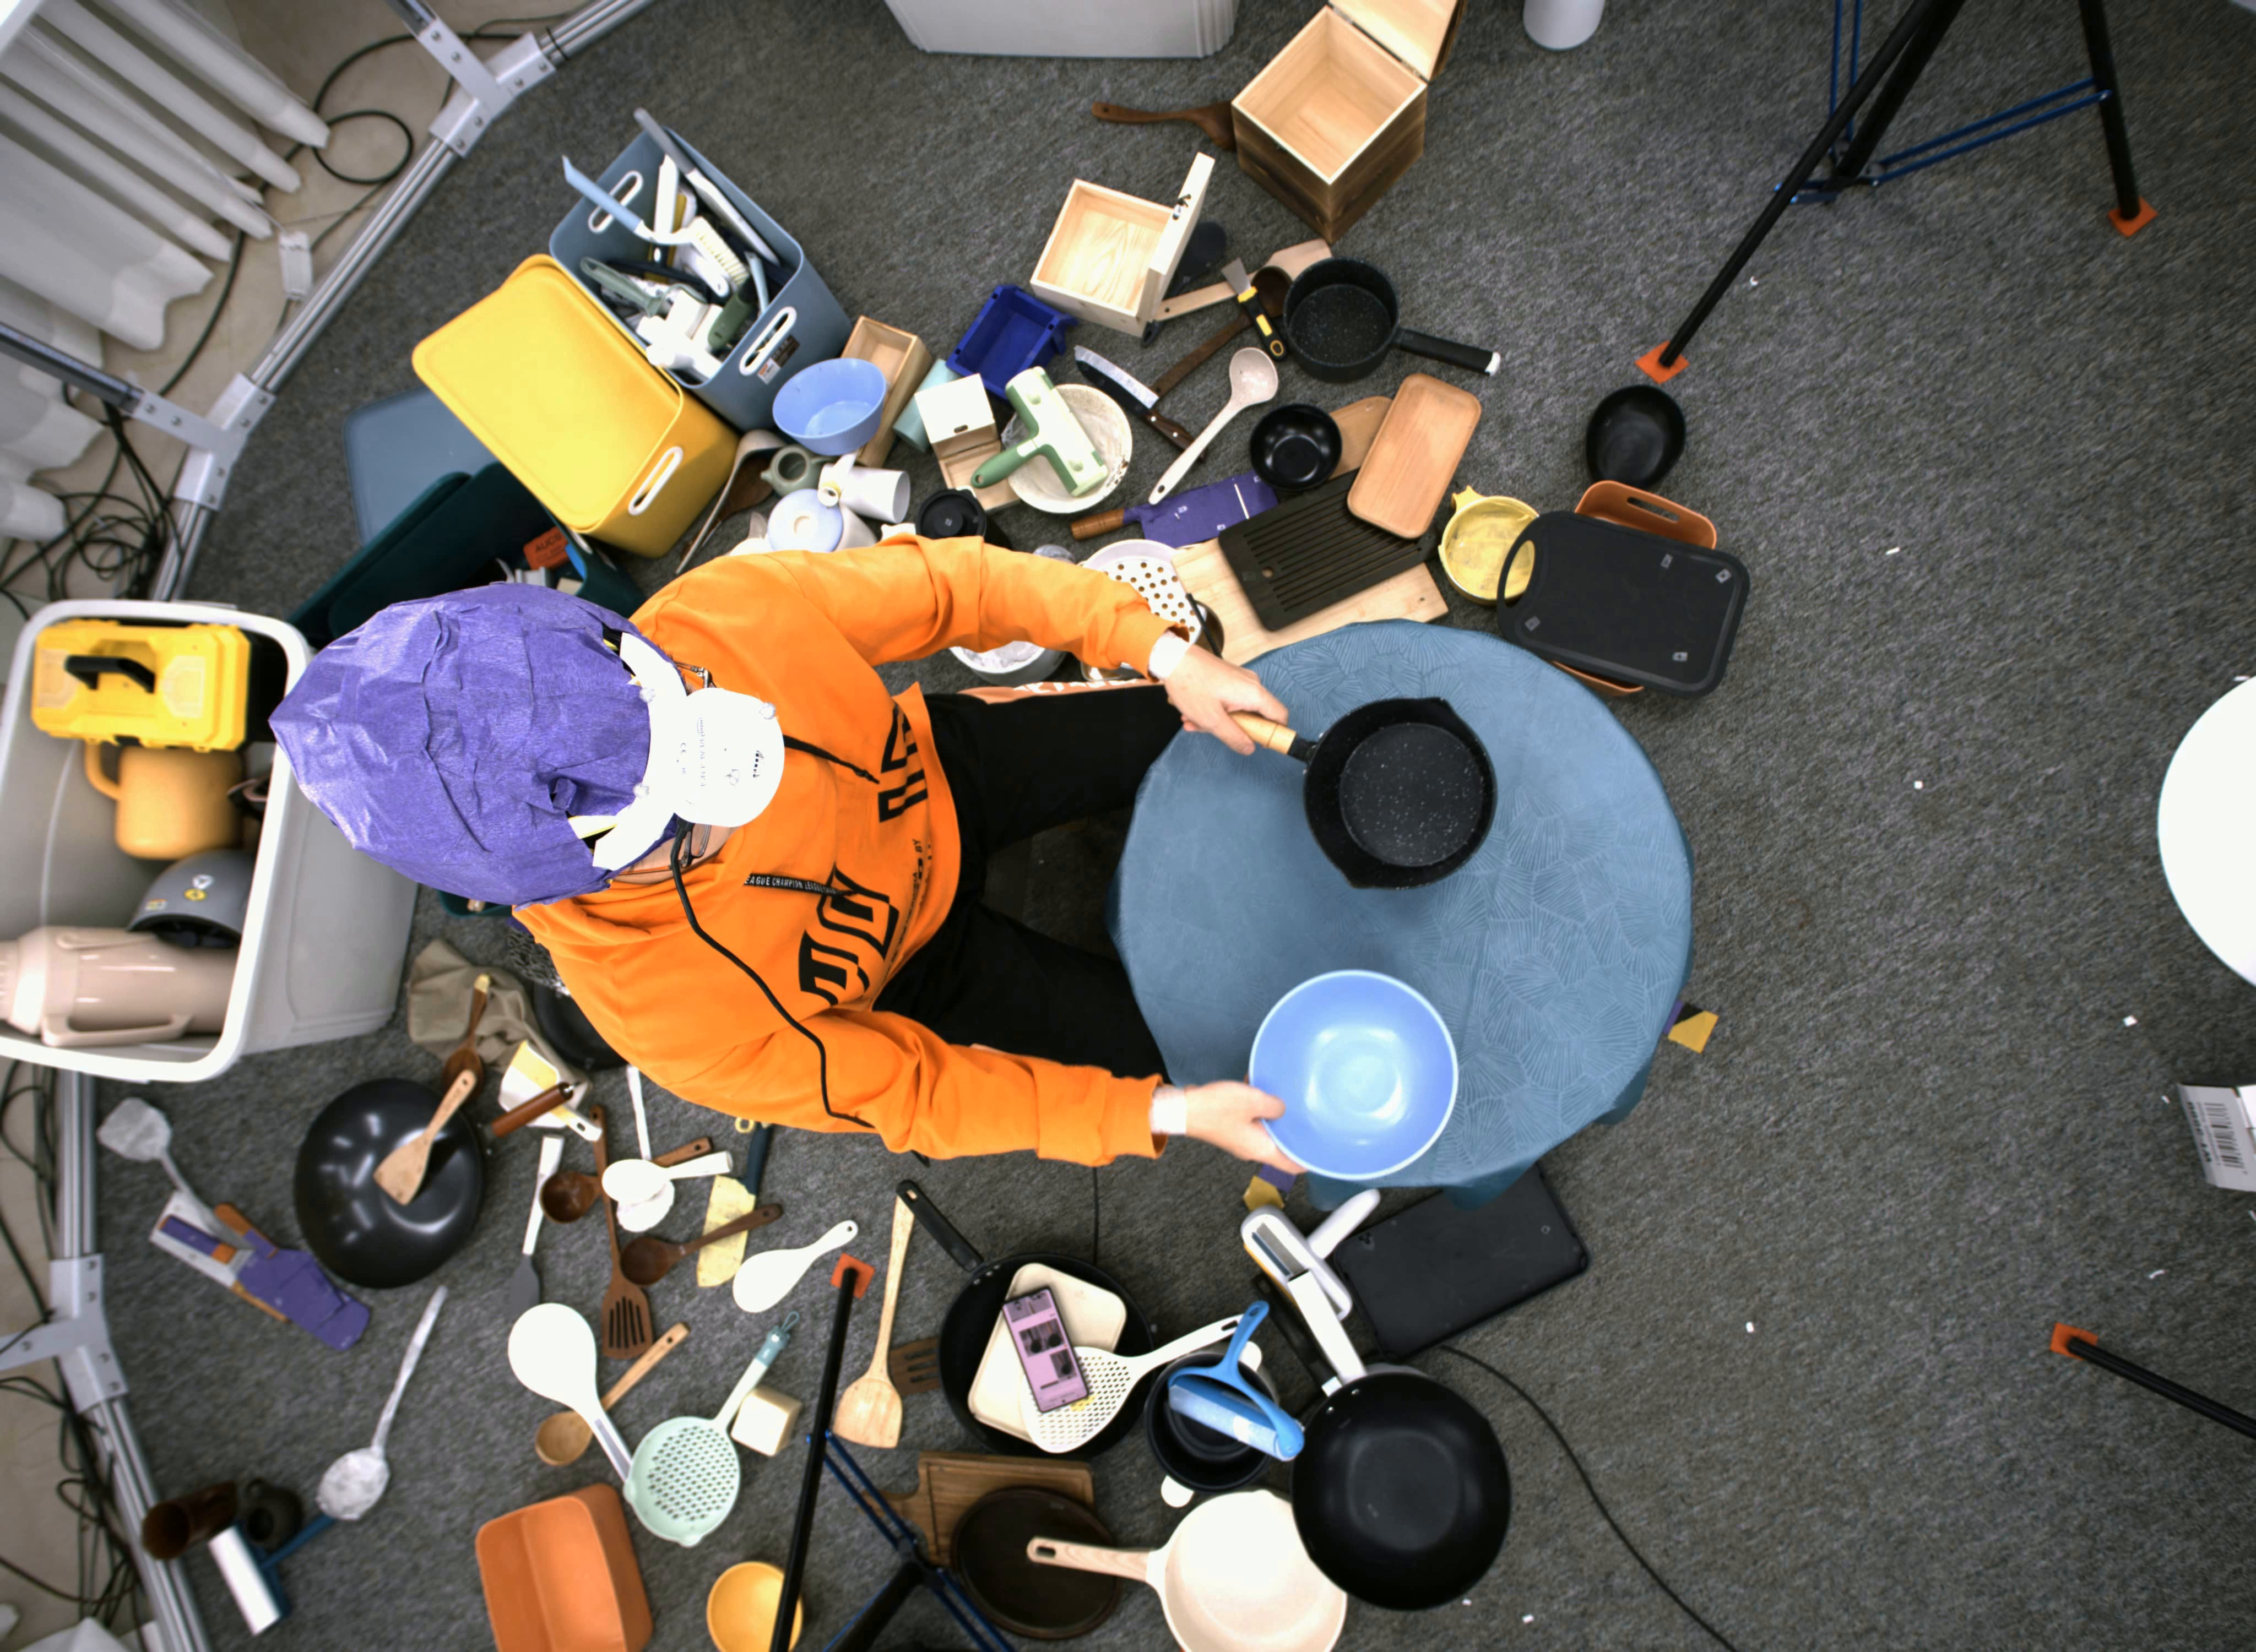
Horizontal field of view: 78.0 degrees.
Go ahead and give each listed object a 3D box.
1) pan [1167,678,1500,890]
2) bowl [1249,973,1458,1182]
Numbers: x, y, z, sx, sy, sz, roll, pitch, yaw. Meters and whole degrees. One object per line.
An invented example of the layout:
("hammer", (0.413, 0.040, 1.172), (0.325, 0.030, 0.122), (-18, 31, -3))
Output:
("pan", (0.201, -0.065, 1.365), (0.342, 0.107, 0.209), (25, 102, 17))
("bowl", (0.222, 0.246, 1.350), (0.197, 0.096, 0.194), (-4, 76, 14))
